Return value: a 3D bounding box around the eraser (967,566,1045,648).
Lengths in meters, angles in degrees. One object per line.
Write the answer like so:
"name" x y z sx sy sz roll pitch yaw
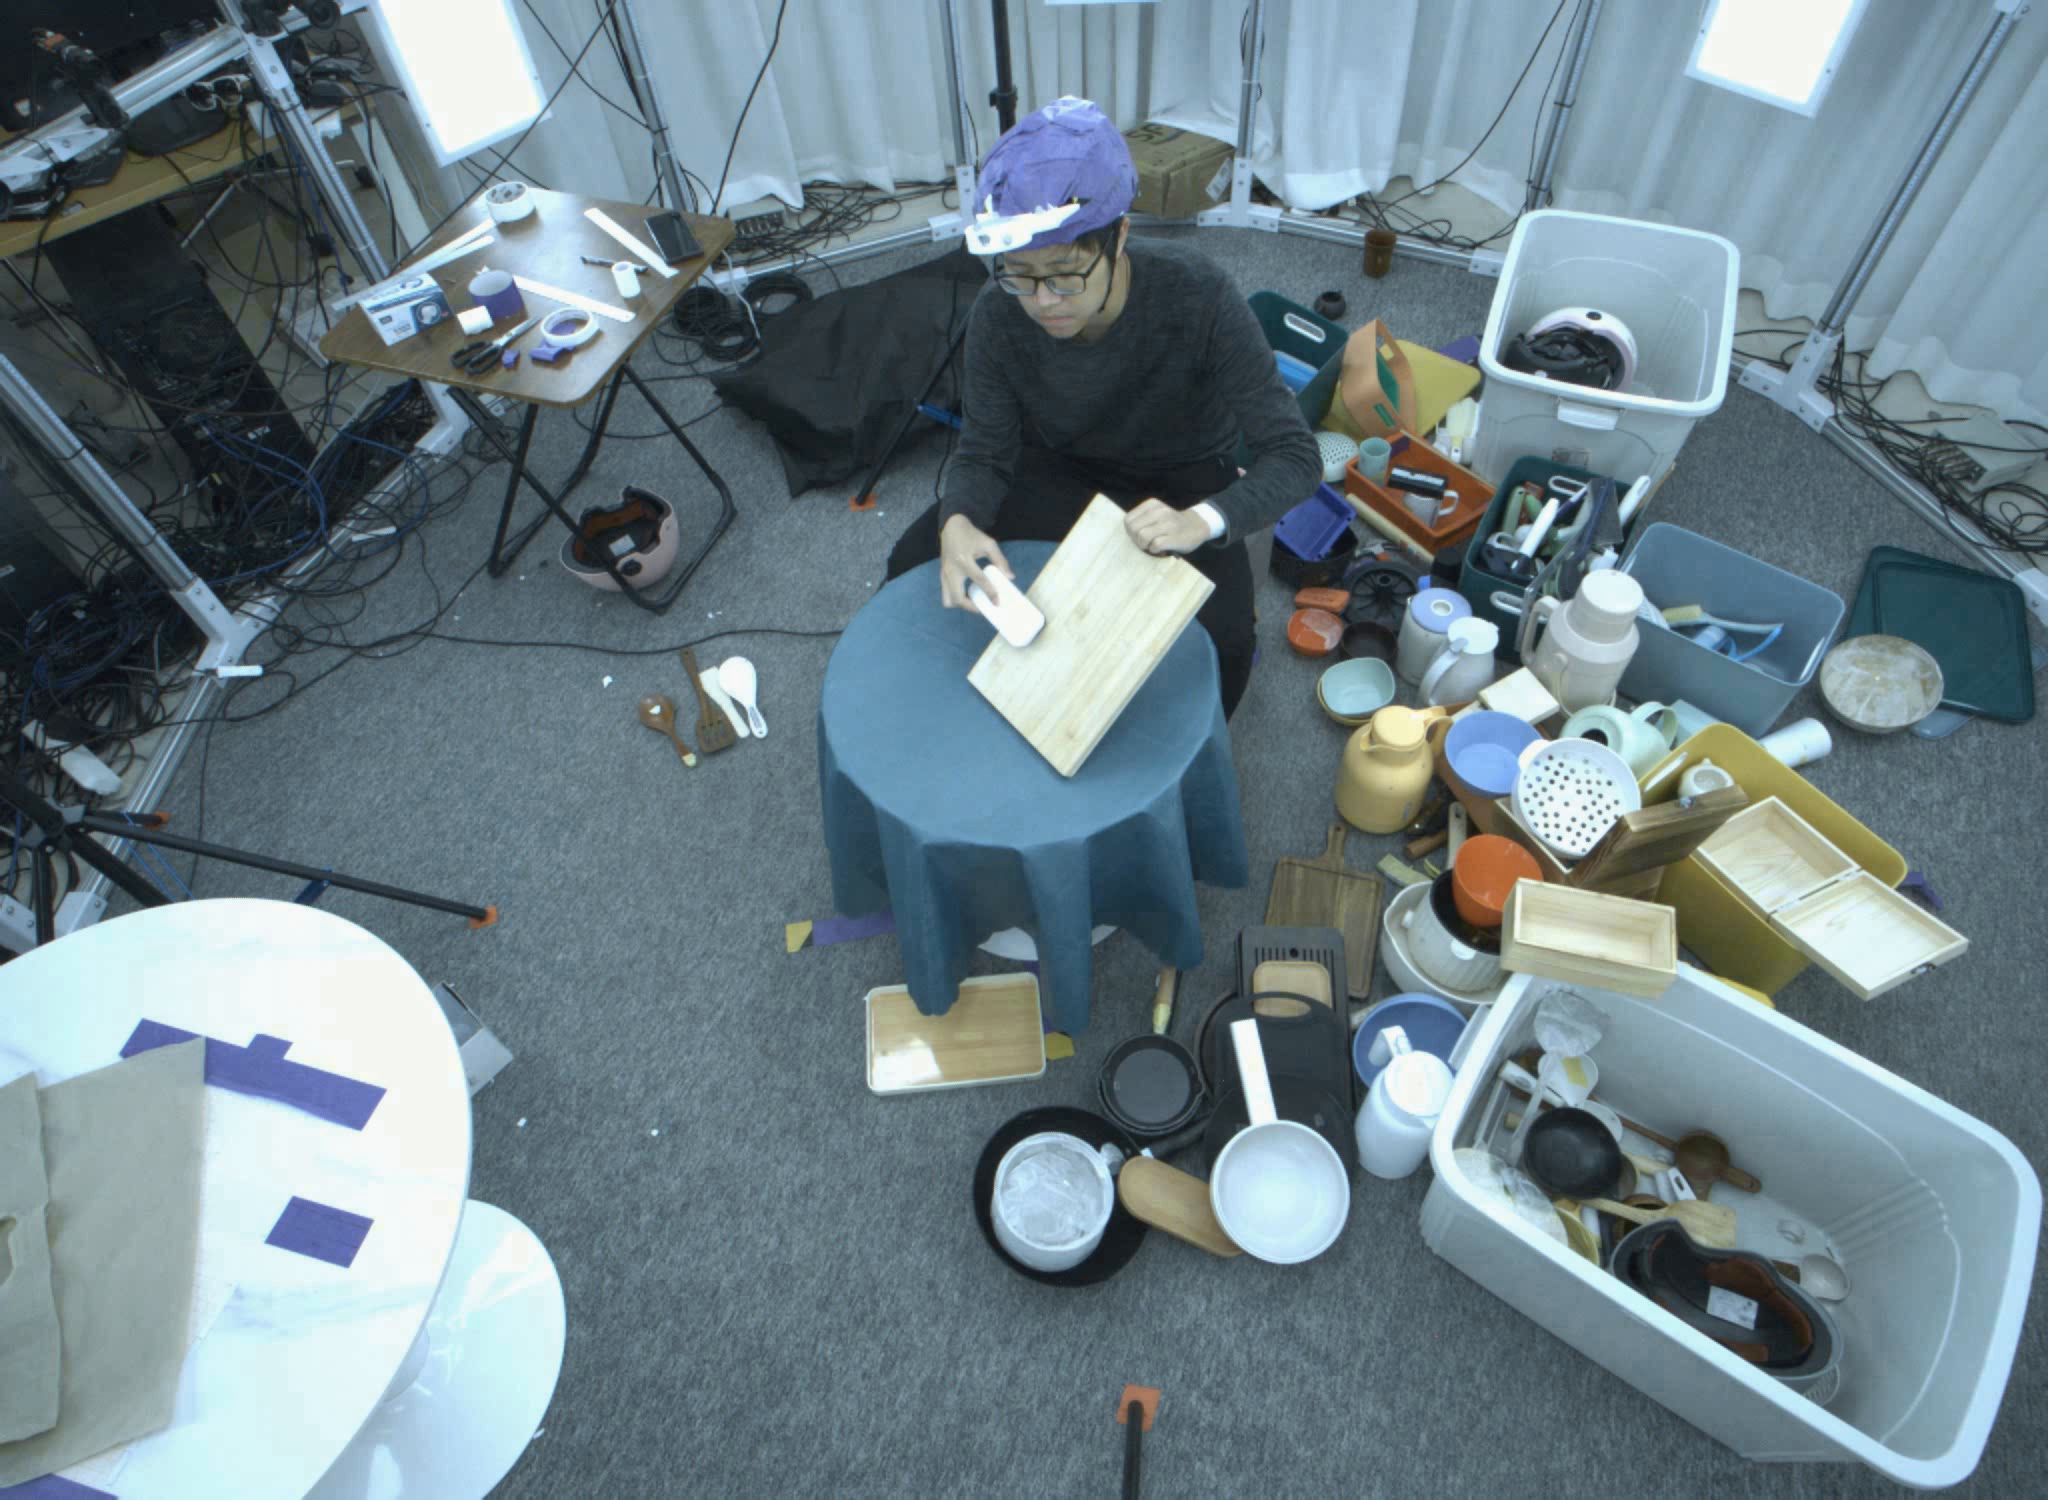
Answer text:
"eraser" -0.027 -0.211 1.801 0.063 0.035 0.129 -47 70 17

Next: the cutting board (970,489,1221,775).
"cutting board" 0.090 -0.170 1.760 0.246 0.024 0.348 44 107 28
